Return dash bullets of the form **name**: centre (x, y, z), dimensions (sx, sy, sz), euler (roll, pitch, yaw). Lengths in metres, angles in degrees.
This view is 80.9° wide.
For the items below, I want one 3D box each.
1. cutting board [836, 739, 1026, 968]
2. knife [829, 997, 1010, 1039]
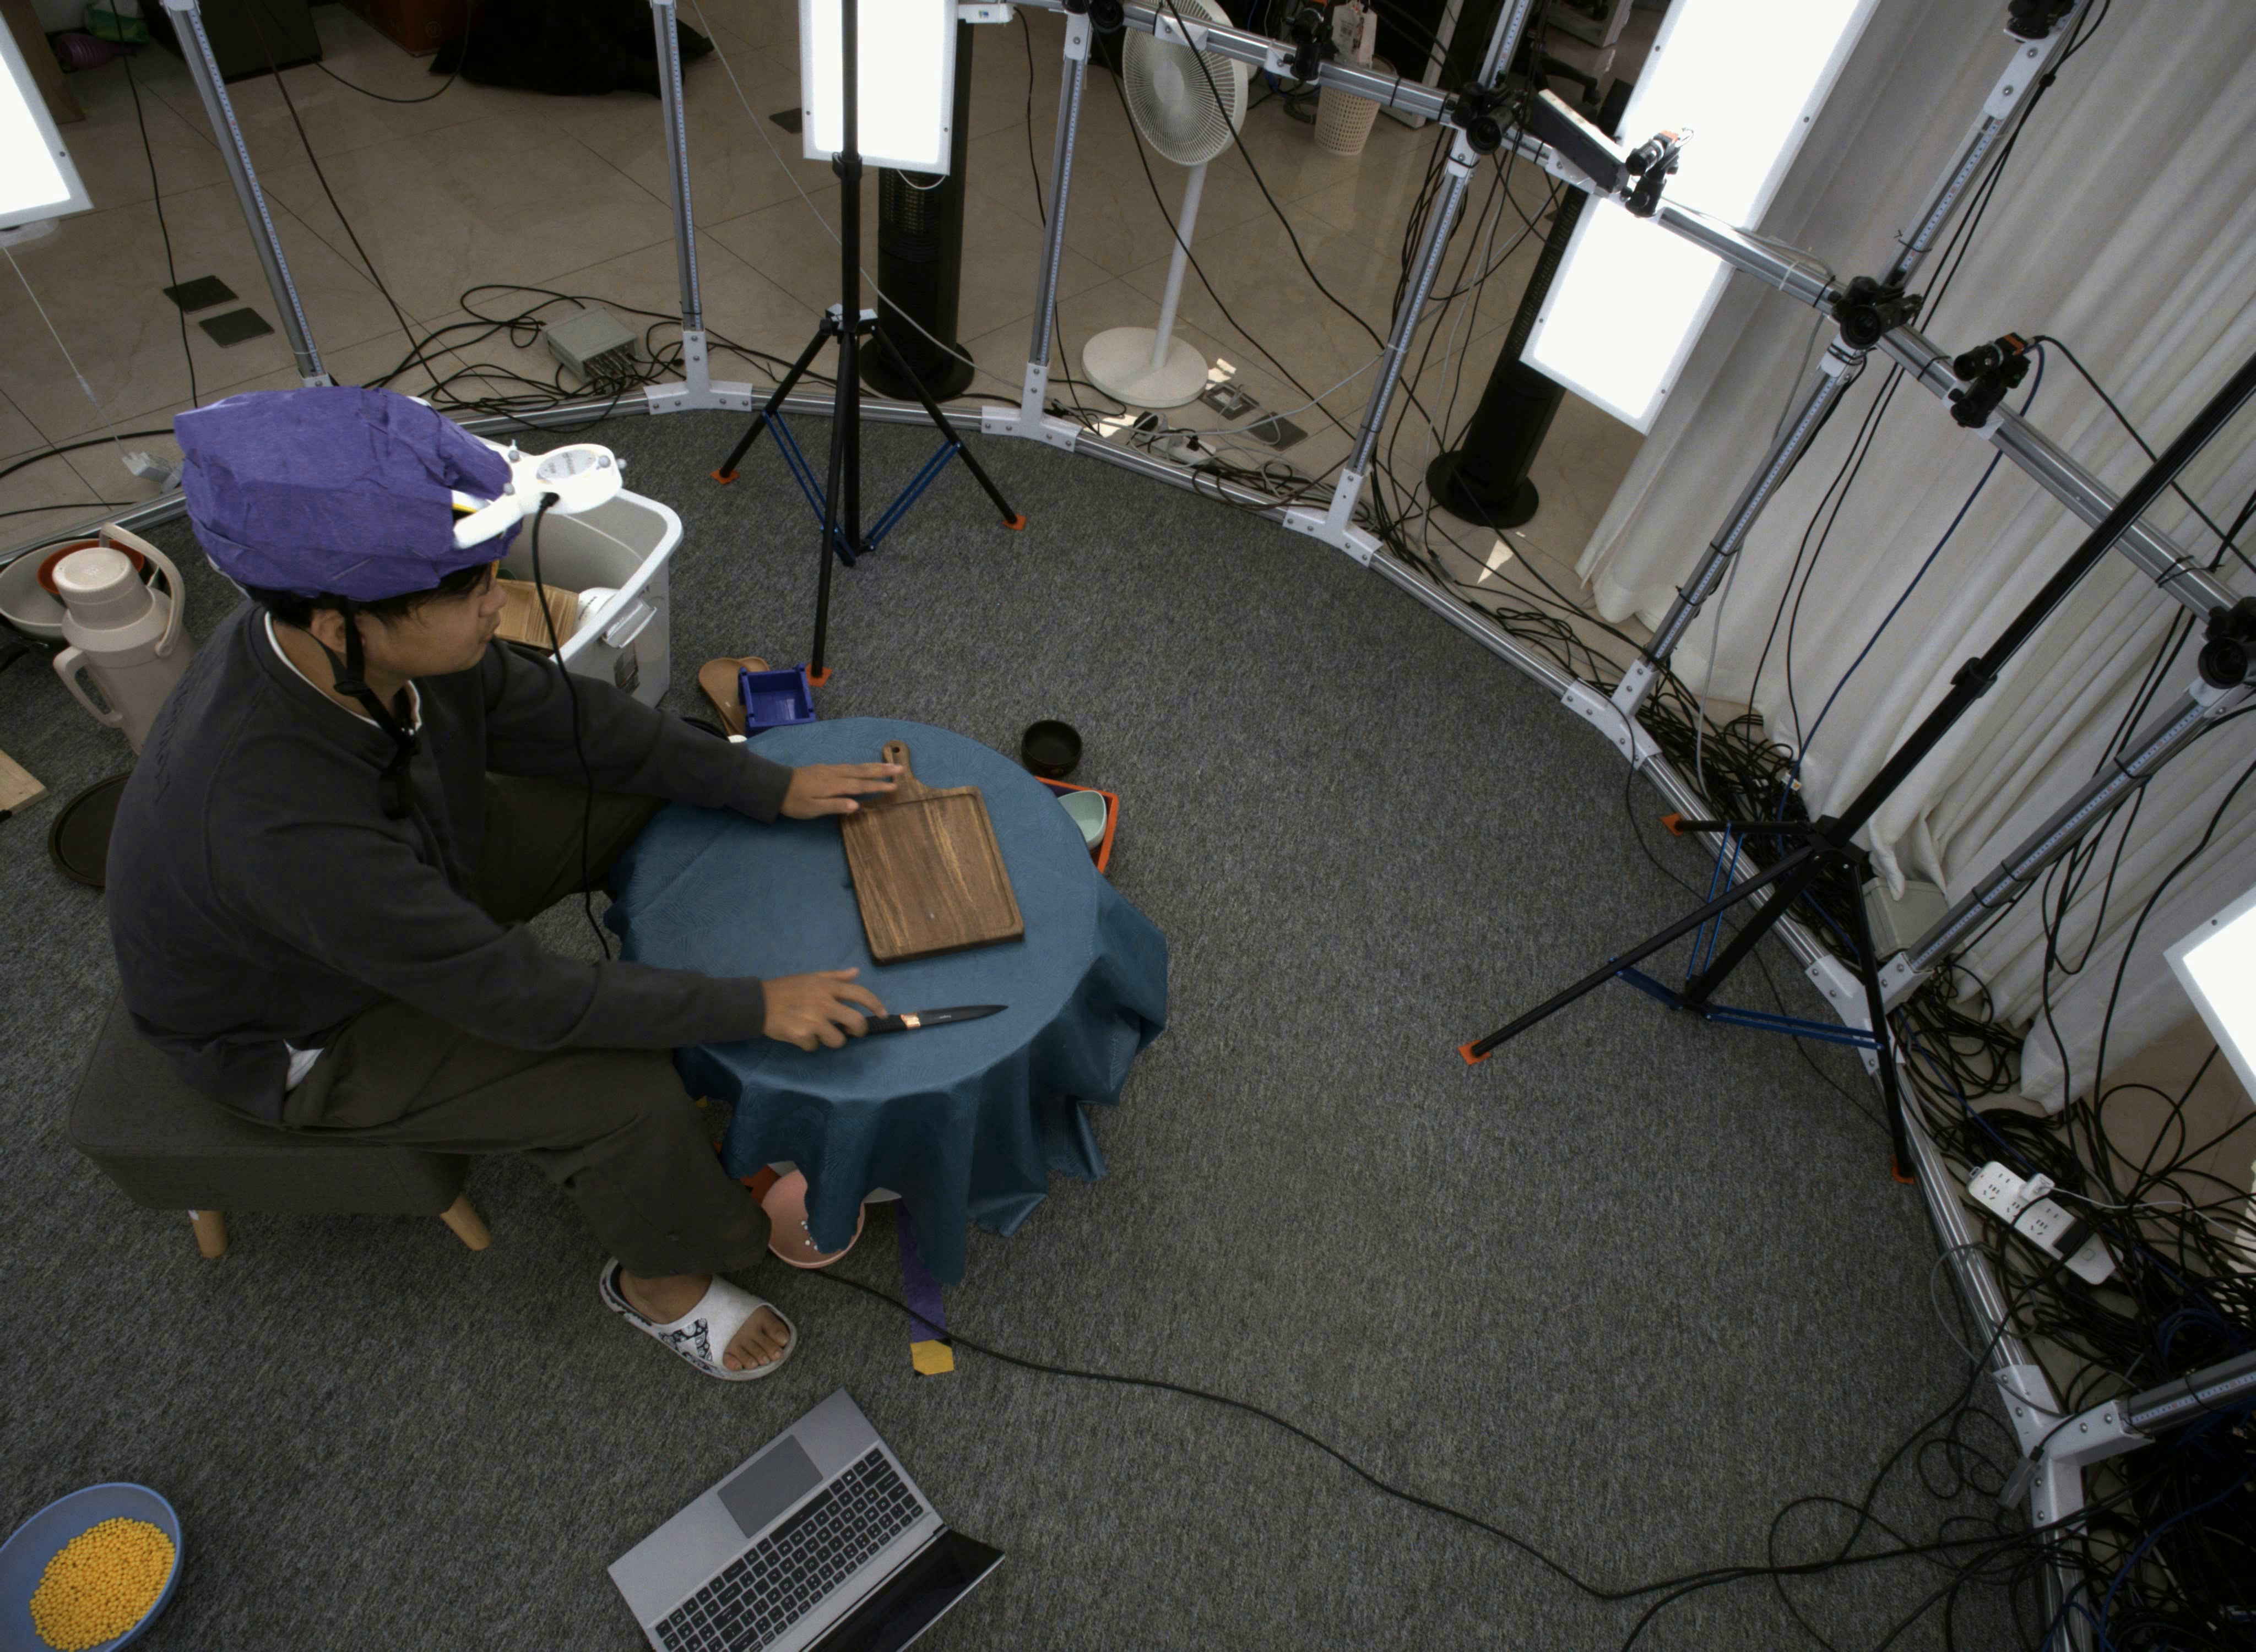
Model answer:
- **cutting board**: centre (-0.275, 0.020, 1.729), dimensions (0.202, 0.023, 0.343), euler (-9, 57, -20)
- **knife**: centre (-0.252, 0.230, 1.584), dimensions (0.226, 0.017, 0.025), euler (-7, 50, -20)
